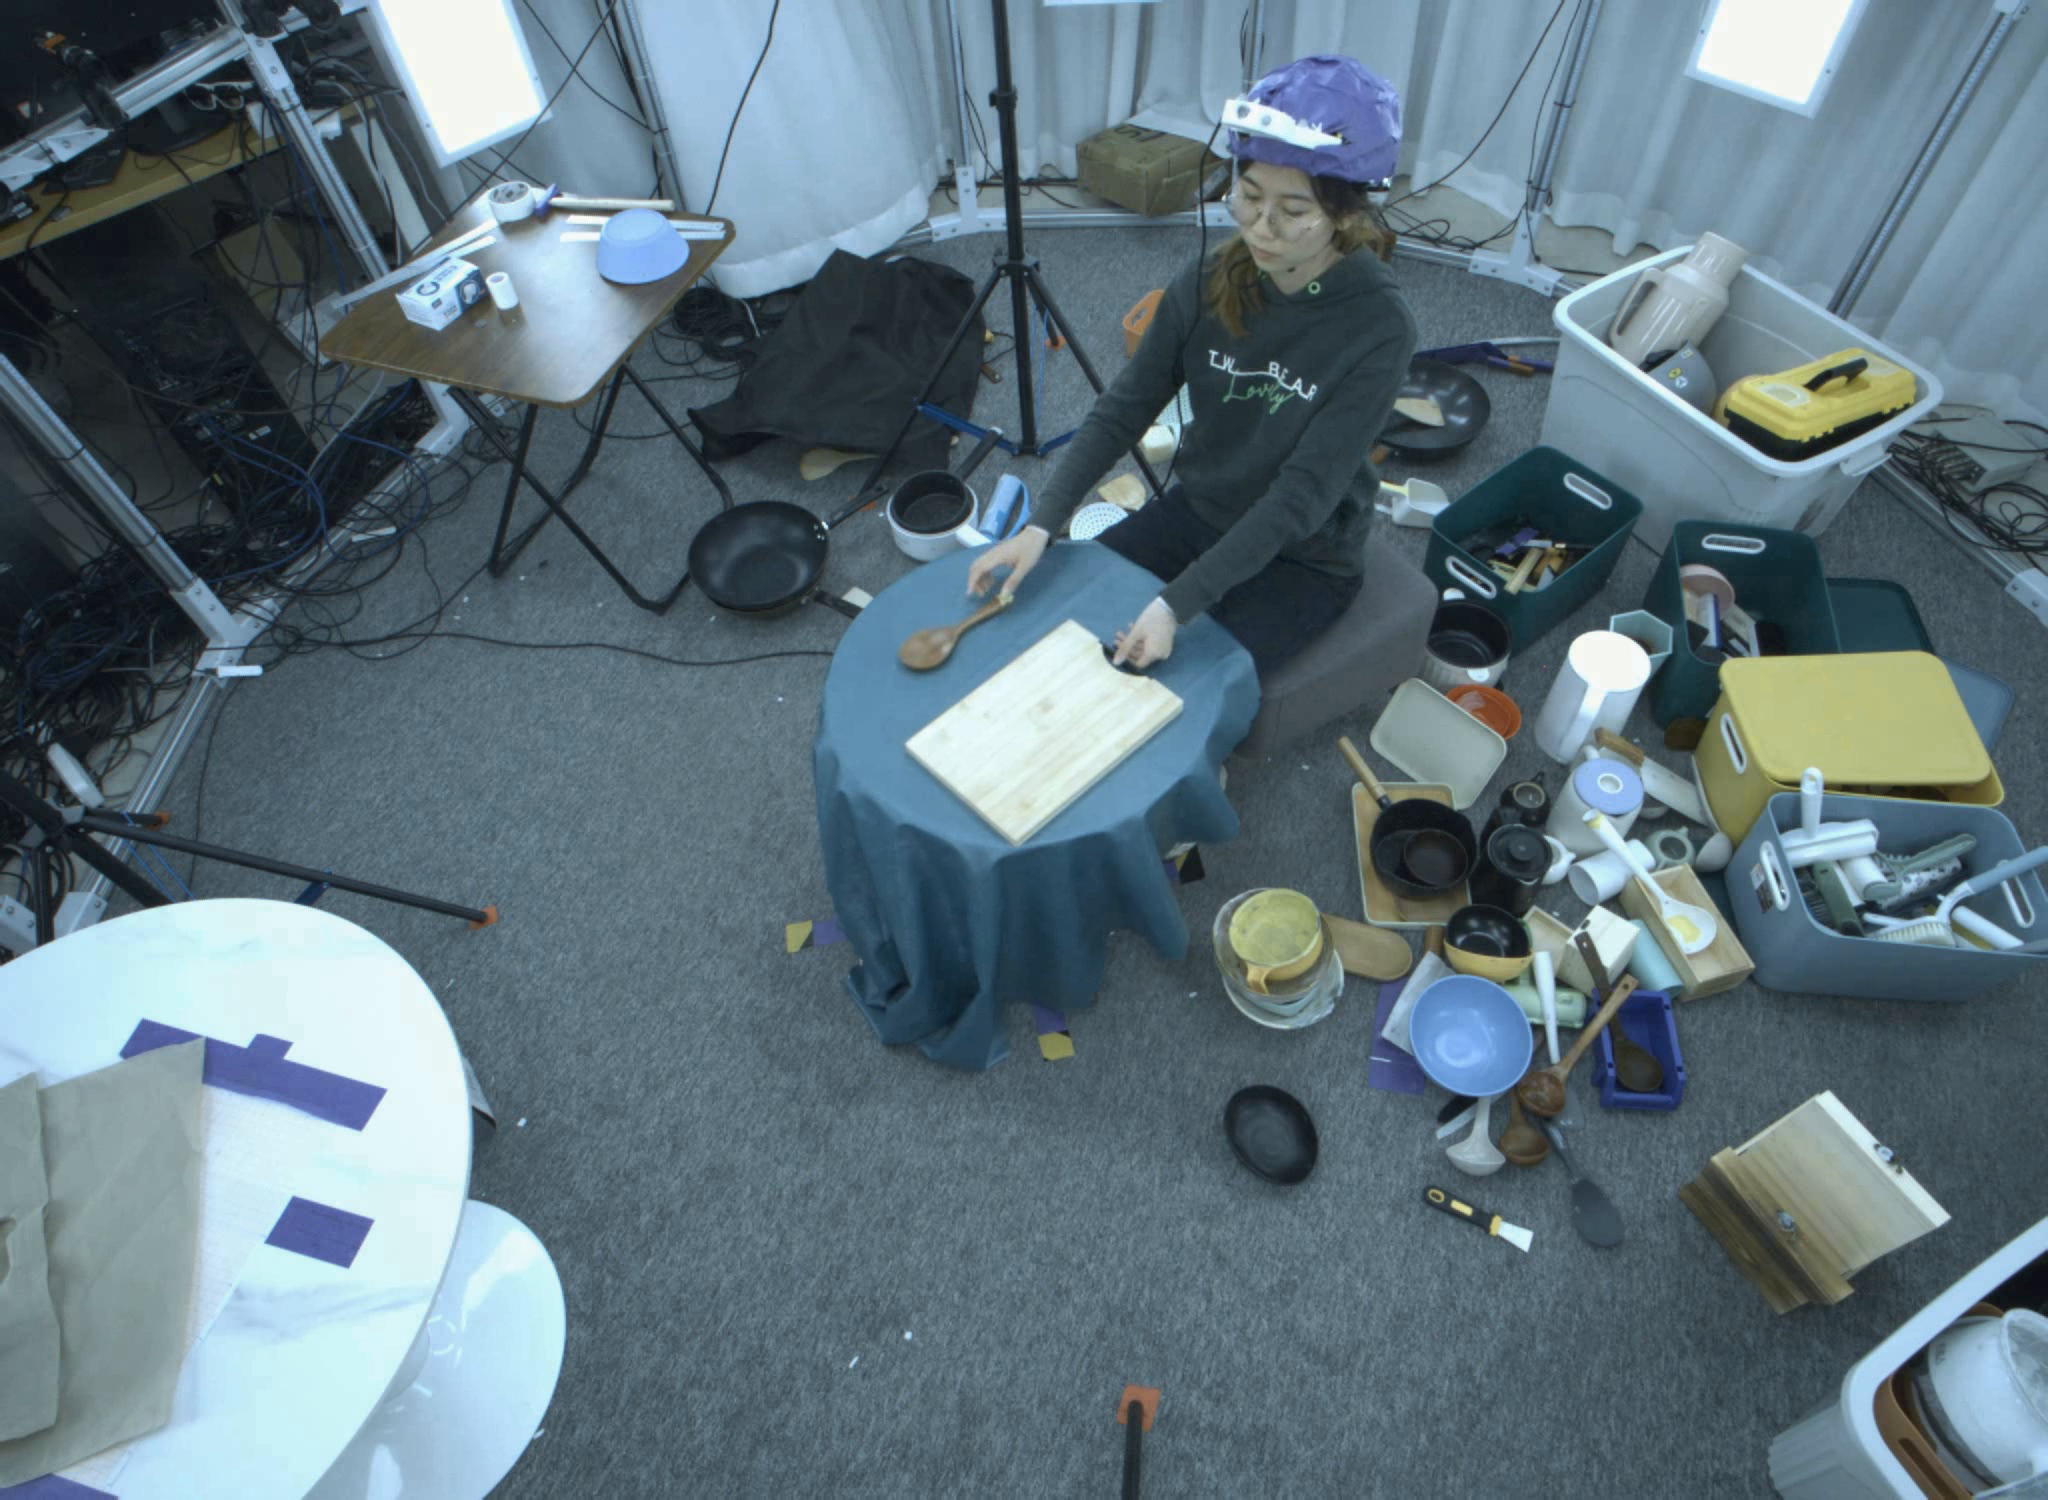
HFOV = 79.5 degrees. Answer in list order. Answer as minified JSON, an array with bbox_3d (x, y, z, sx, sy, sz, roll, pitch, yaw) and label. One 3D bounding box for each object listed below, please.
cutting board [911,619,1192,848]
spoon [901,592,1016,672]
[{"bbox_3d":[0.039,-0.034,1.811,0.351,0.024,0.246,-40,63,-23],"label":"cutting board"},{"bbox_3d":[-0.099,-0.185,1.920,0.217,0.017,0.074,-36,60,-21],"label":"spoon"}]
